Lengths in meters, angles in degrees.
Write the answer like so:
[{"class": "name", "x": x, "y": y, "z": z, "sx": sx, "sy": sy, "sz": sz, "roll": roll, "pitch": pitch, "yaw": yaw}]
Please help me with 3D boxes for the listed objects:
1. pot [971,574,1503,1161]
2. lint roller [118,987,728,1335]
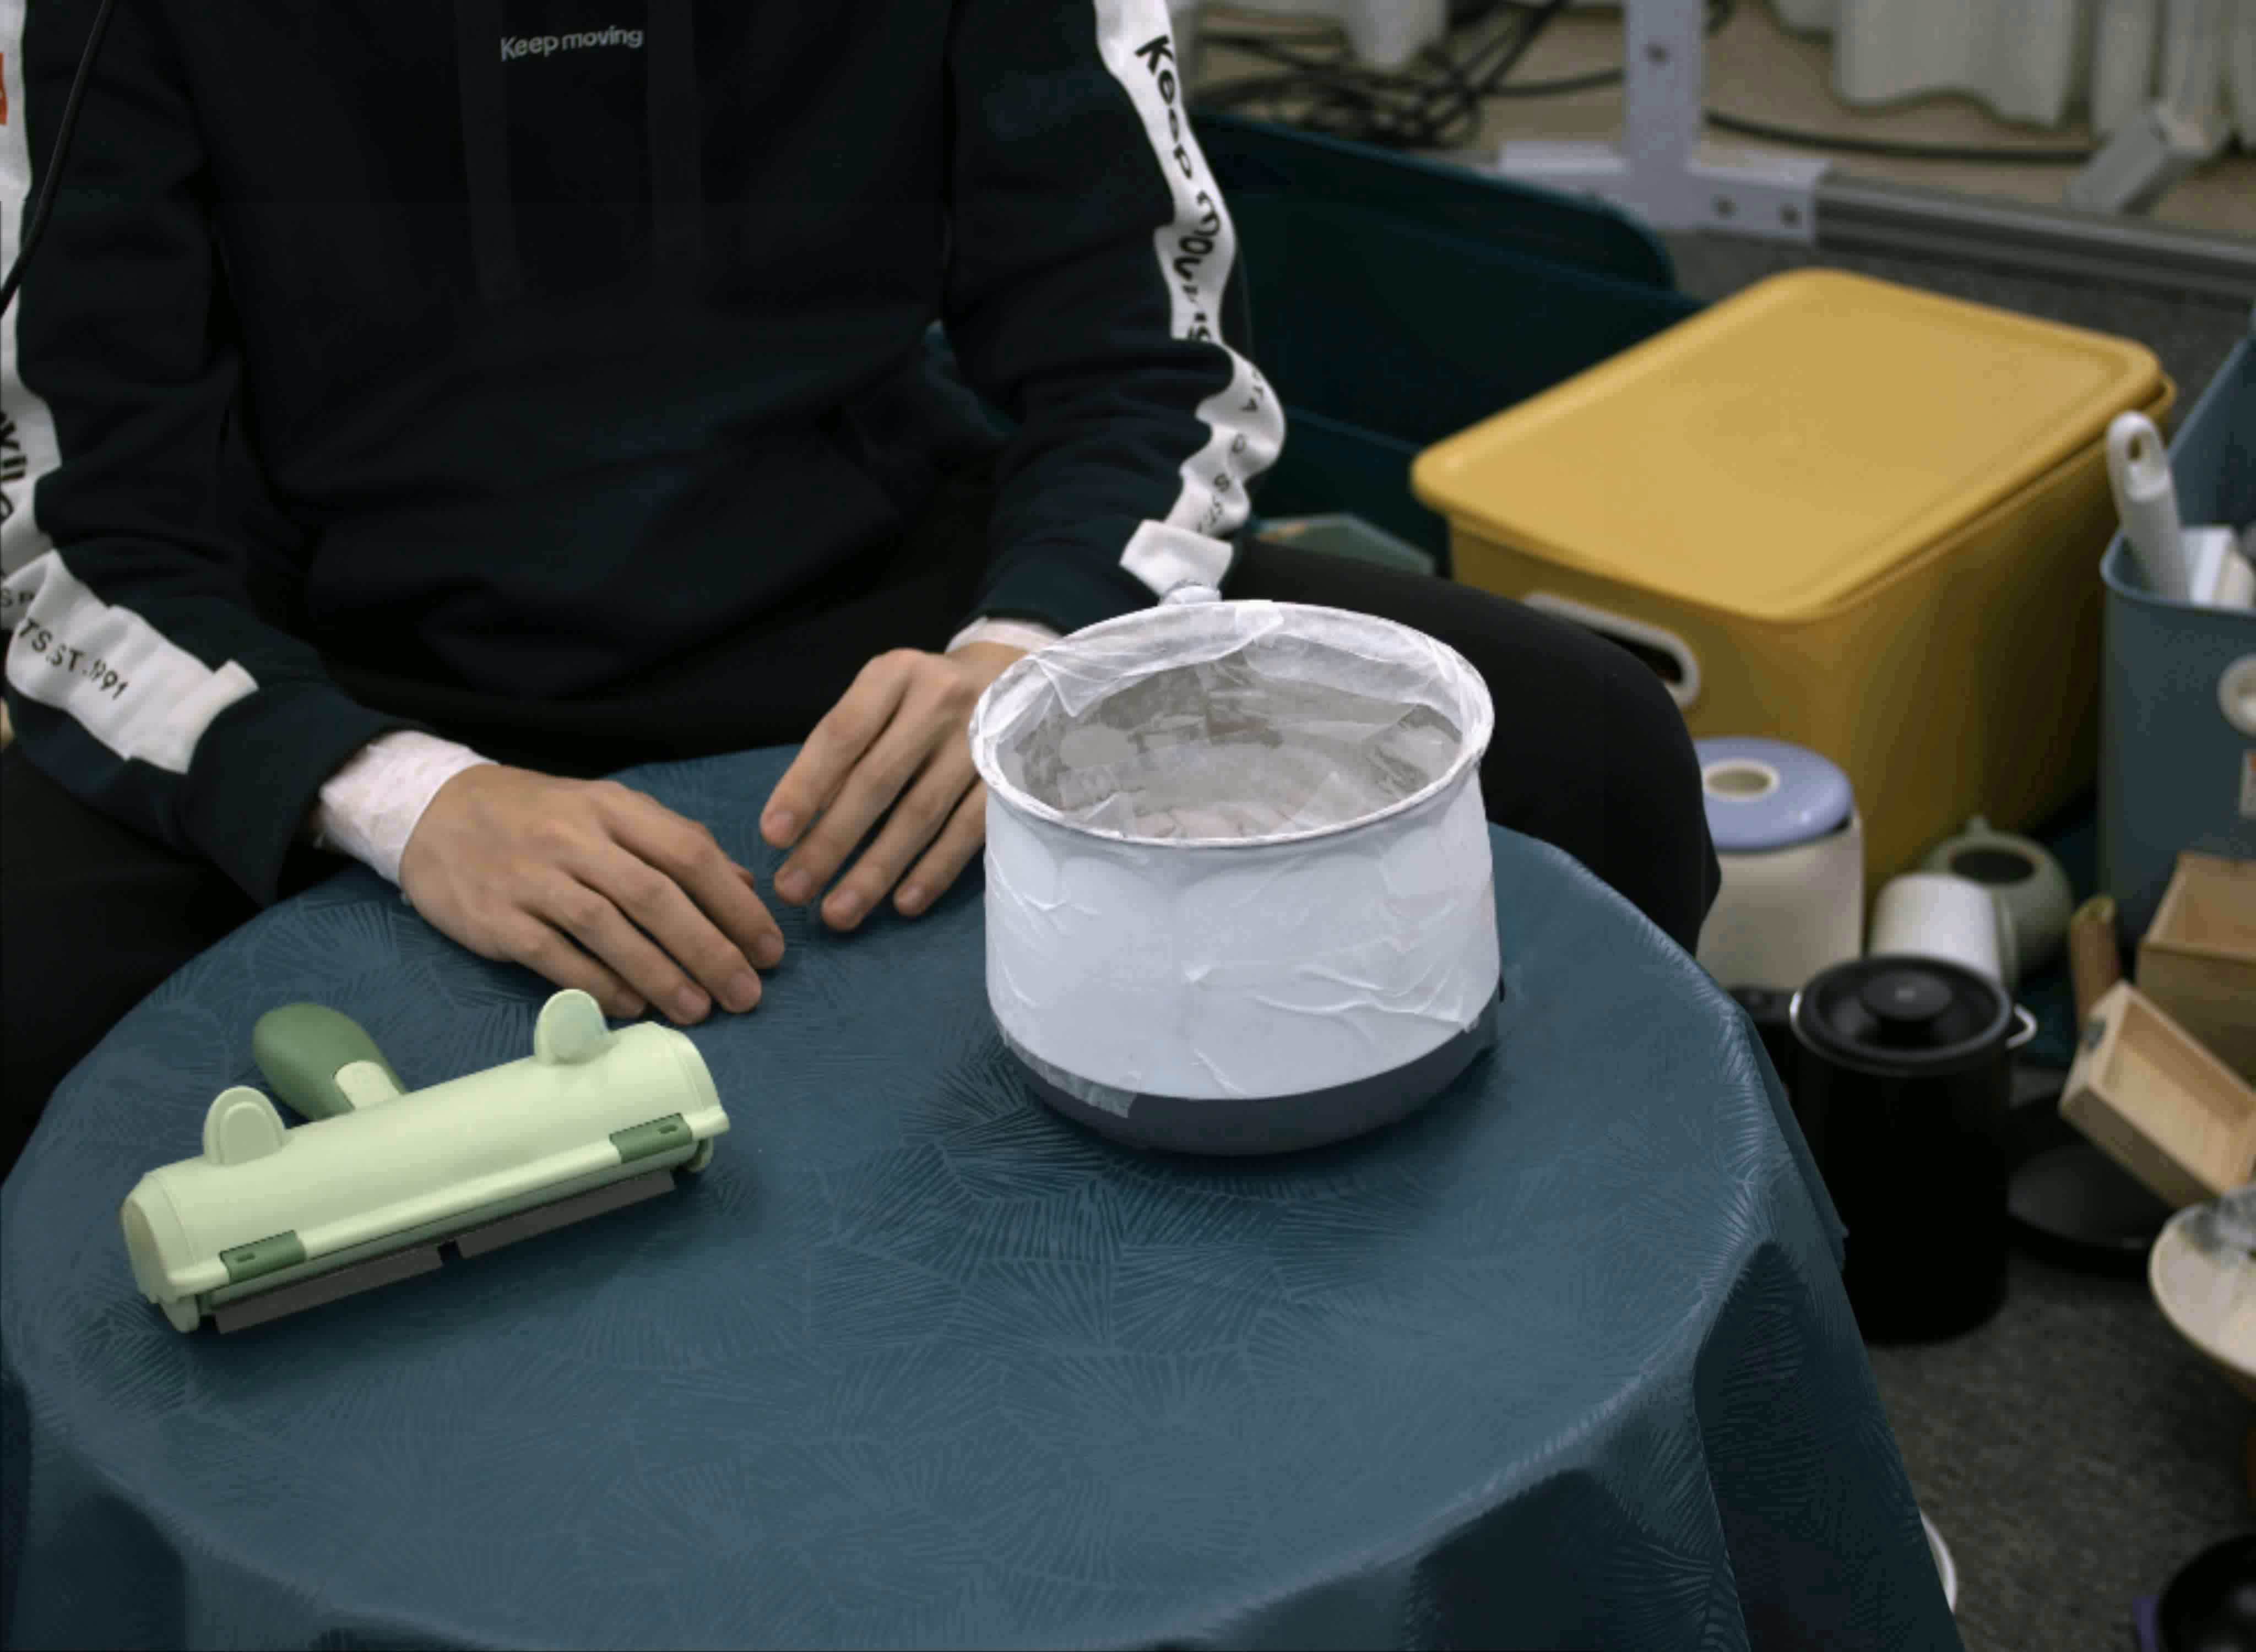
[{"class": "pot", "x": 0.034, "y": 0.007, "z": 1.929, "sx": 0.178, "sy": 0.135, "sz": 0.237, "roll": -5, "pitch": 28, "yaw": -6}, {"class": "lint roller", "x": -0.256, "y": 0.083, "z": 1.879, "sx": 0.199, "sy": 0.081, "sz": 0.184, "roll": -16, "pitch": 35, "yaw": -23}]
